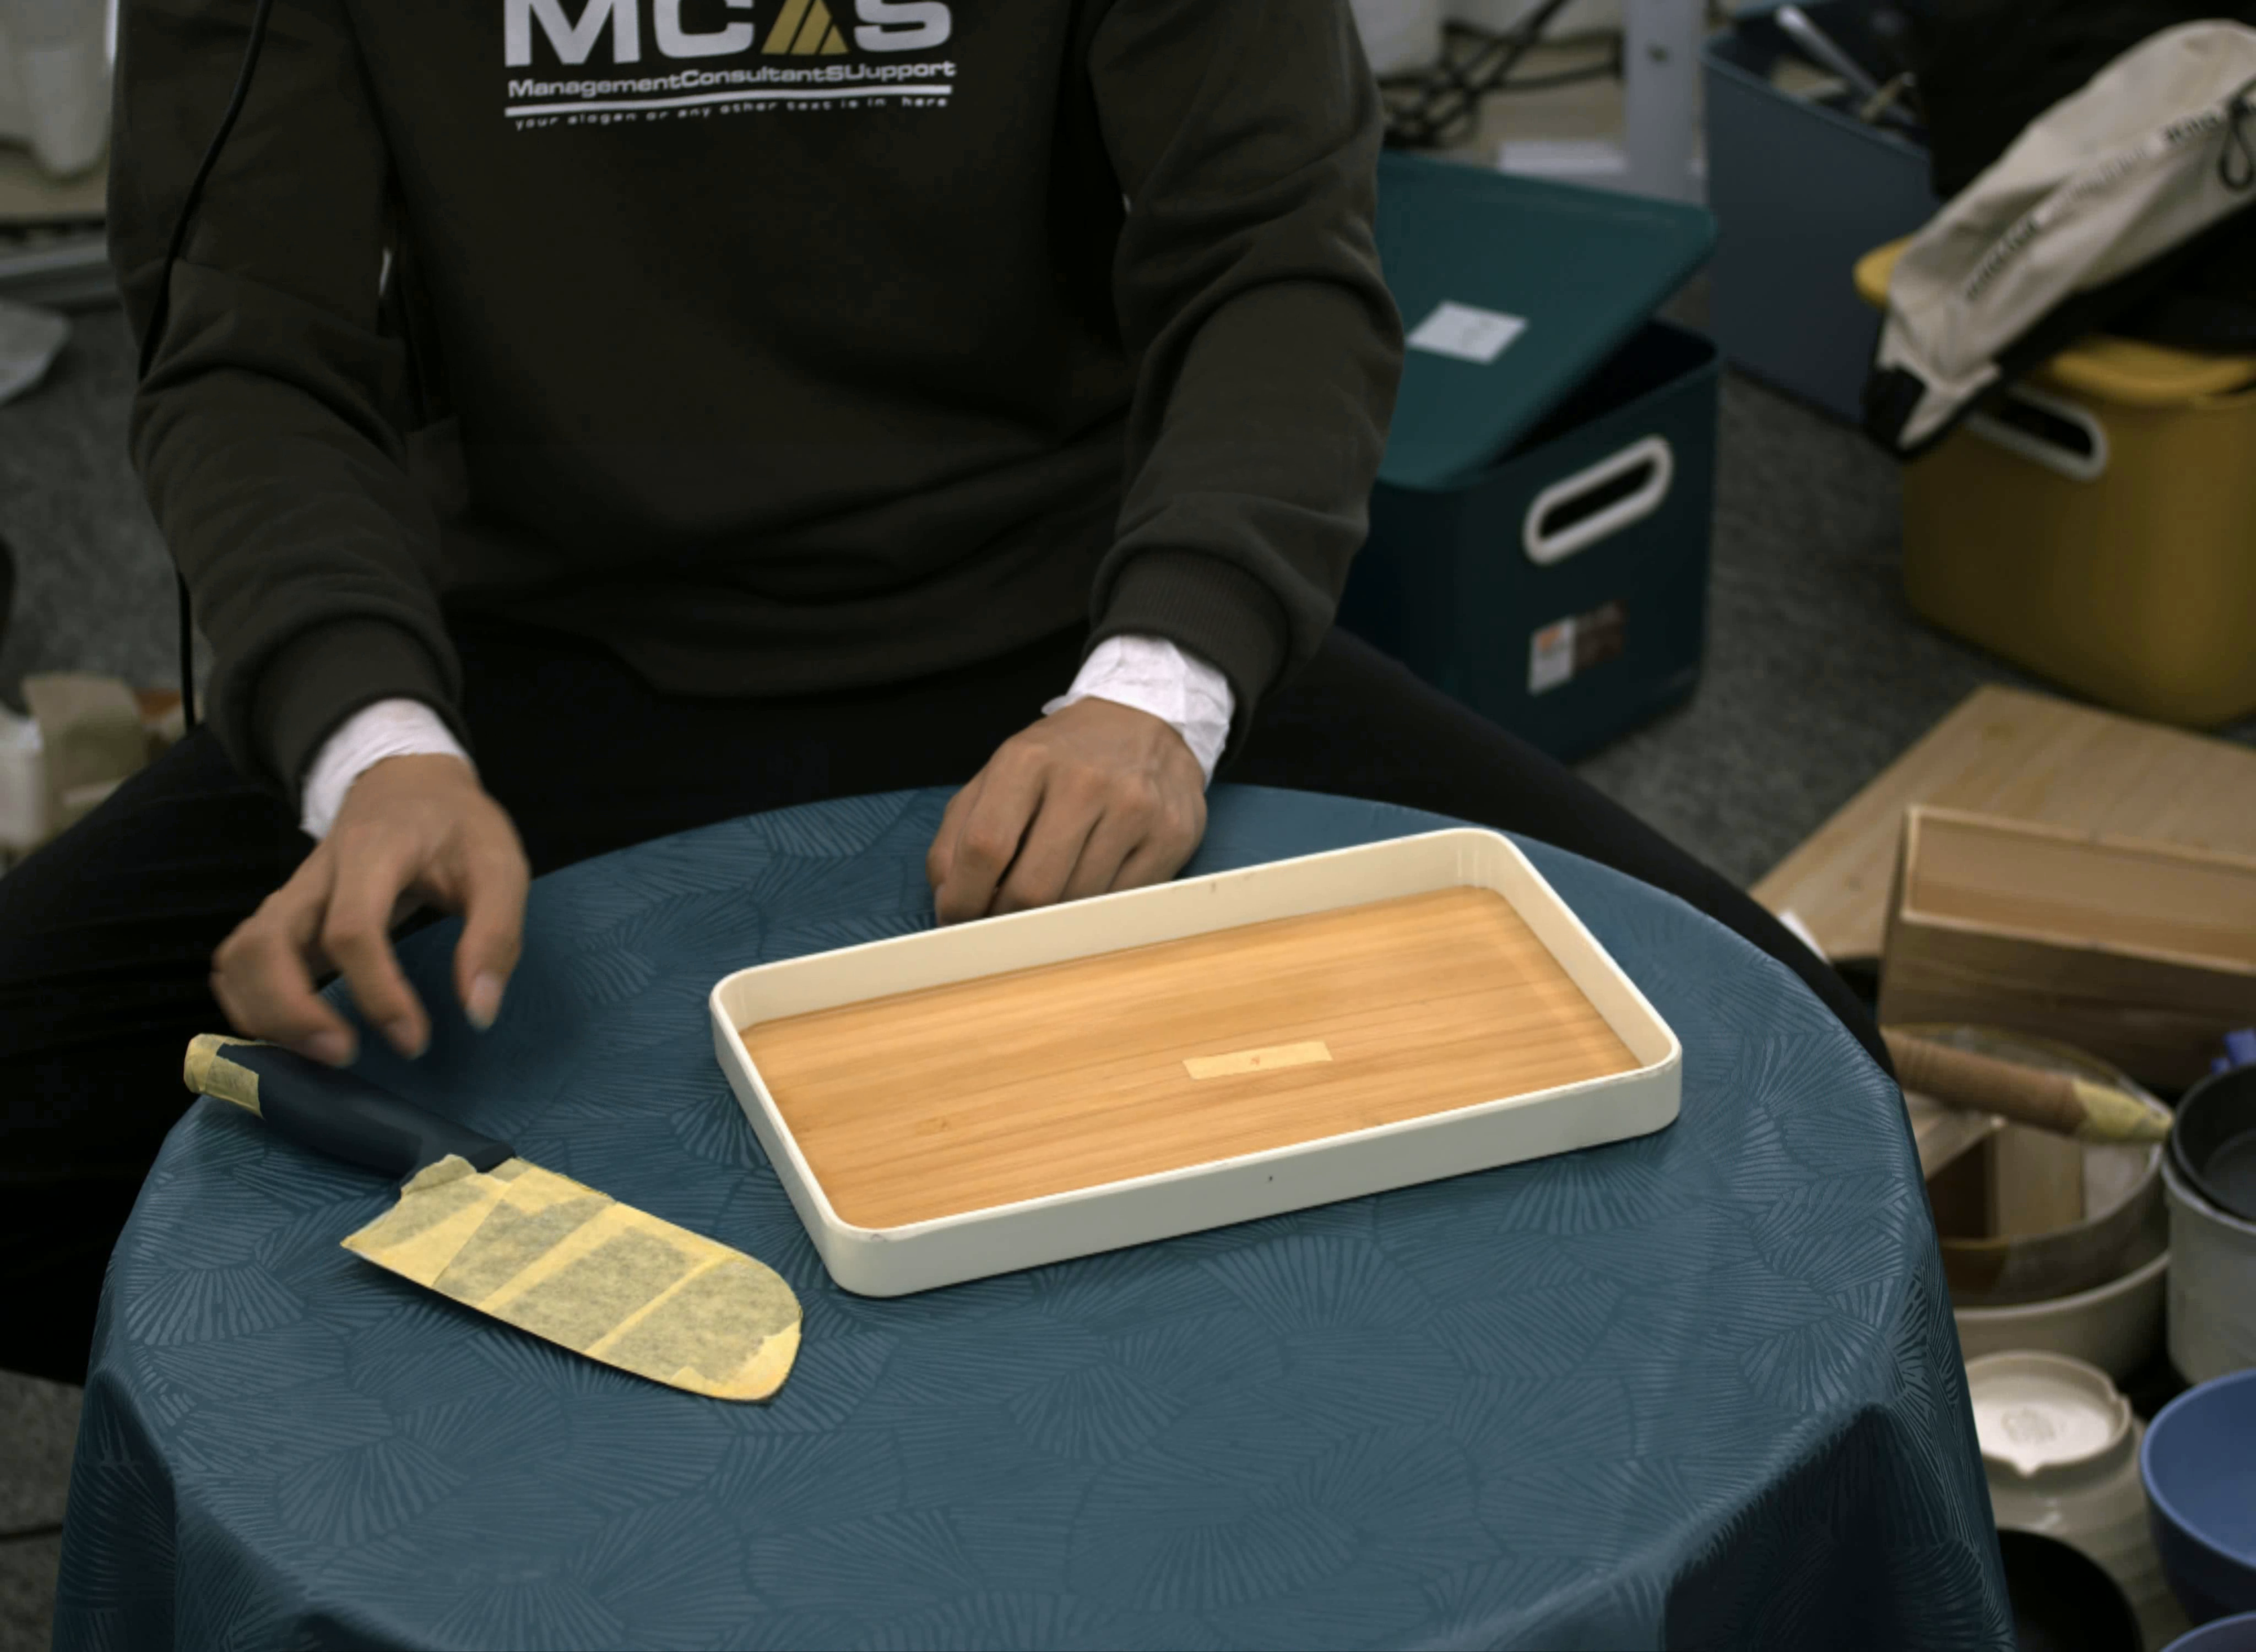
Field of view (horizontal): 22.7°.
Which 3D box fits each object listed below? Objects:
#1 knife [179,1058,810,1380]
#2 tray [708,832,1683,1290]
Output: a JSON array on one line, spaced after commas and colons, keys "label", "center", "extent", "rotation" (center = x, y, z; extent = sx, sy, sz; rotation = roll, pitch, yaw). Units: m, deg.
[{"label": "knife", "center": [-0.217, 0.131, 1.848], "extent": [0.288, 0.027, 0.082], "rotation": [19, 33, 34]}, {"label": "tray", "center": [0.020, 0.077, 1.918], "extent": [0.300, 0.027, 0.193], "rotation": [-10, 27, -15]}]
